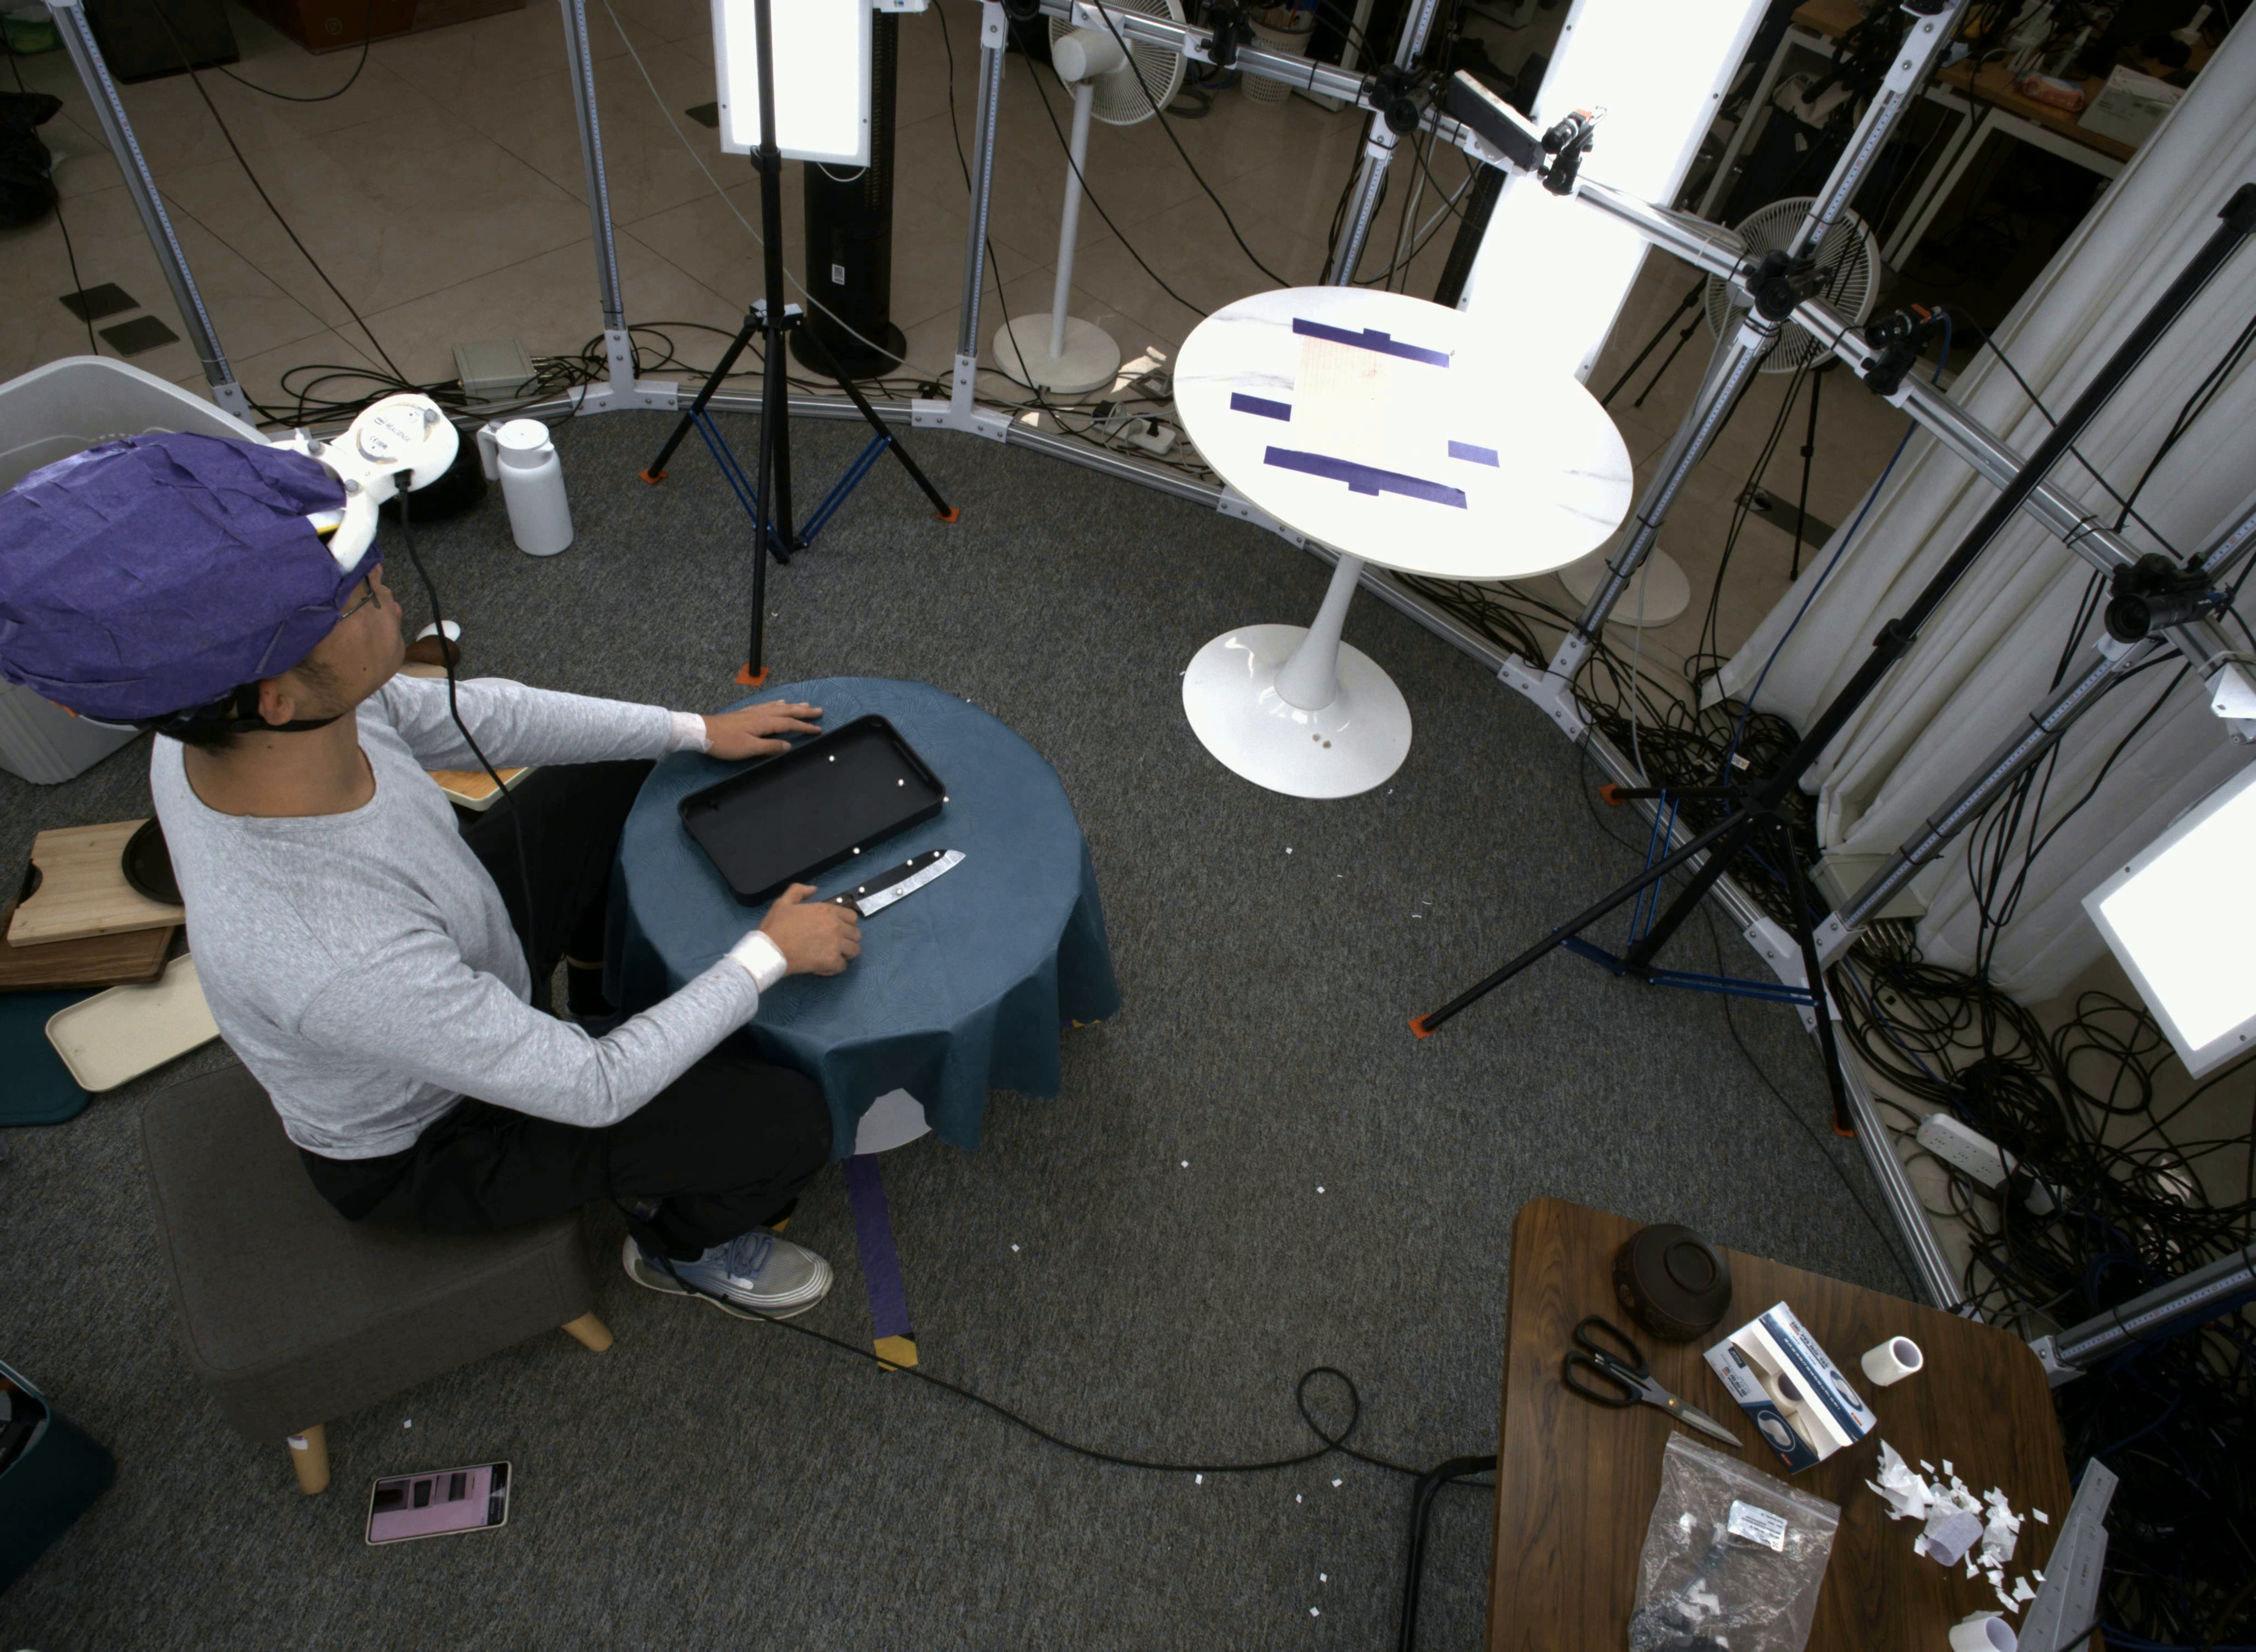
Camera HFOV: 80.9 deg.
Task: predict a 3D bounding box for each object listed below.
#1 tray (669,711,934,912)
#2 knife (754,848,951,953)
[{"bbox_3d":[-0.432,-0.026,1.730,0.319,0.038,0.180,-33,67,-31],"label":"tray"},{"bbox_3d":[-0.350,0.090,1.678,0.290,0.020,0.049,-27,69,-32],"label":"knife"}]
